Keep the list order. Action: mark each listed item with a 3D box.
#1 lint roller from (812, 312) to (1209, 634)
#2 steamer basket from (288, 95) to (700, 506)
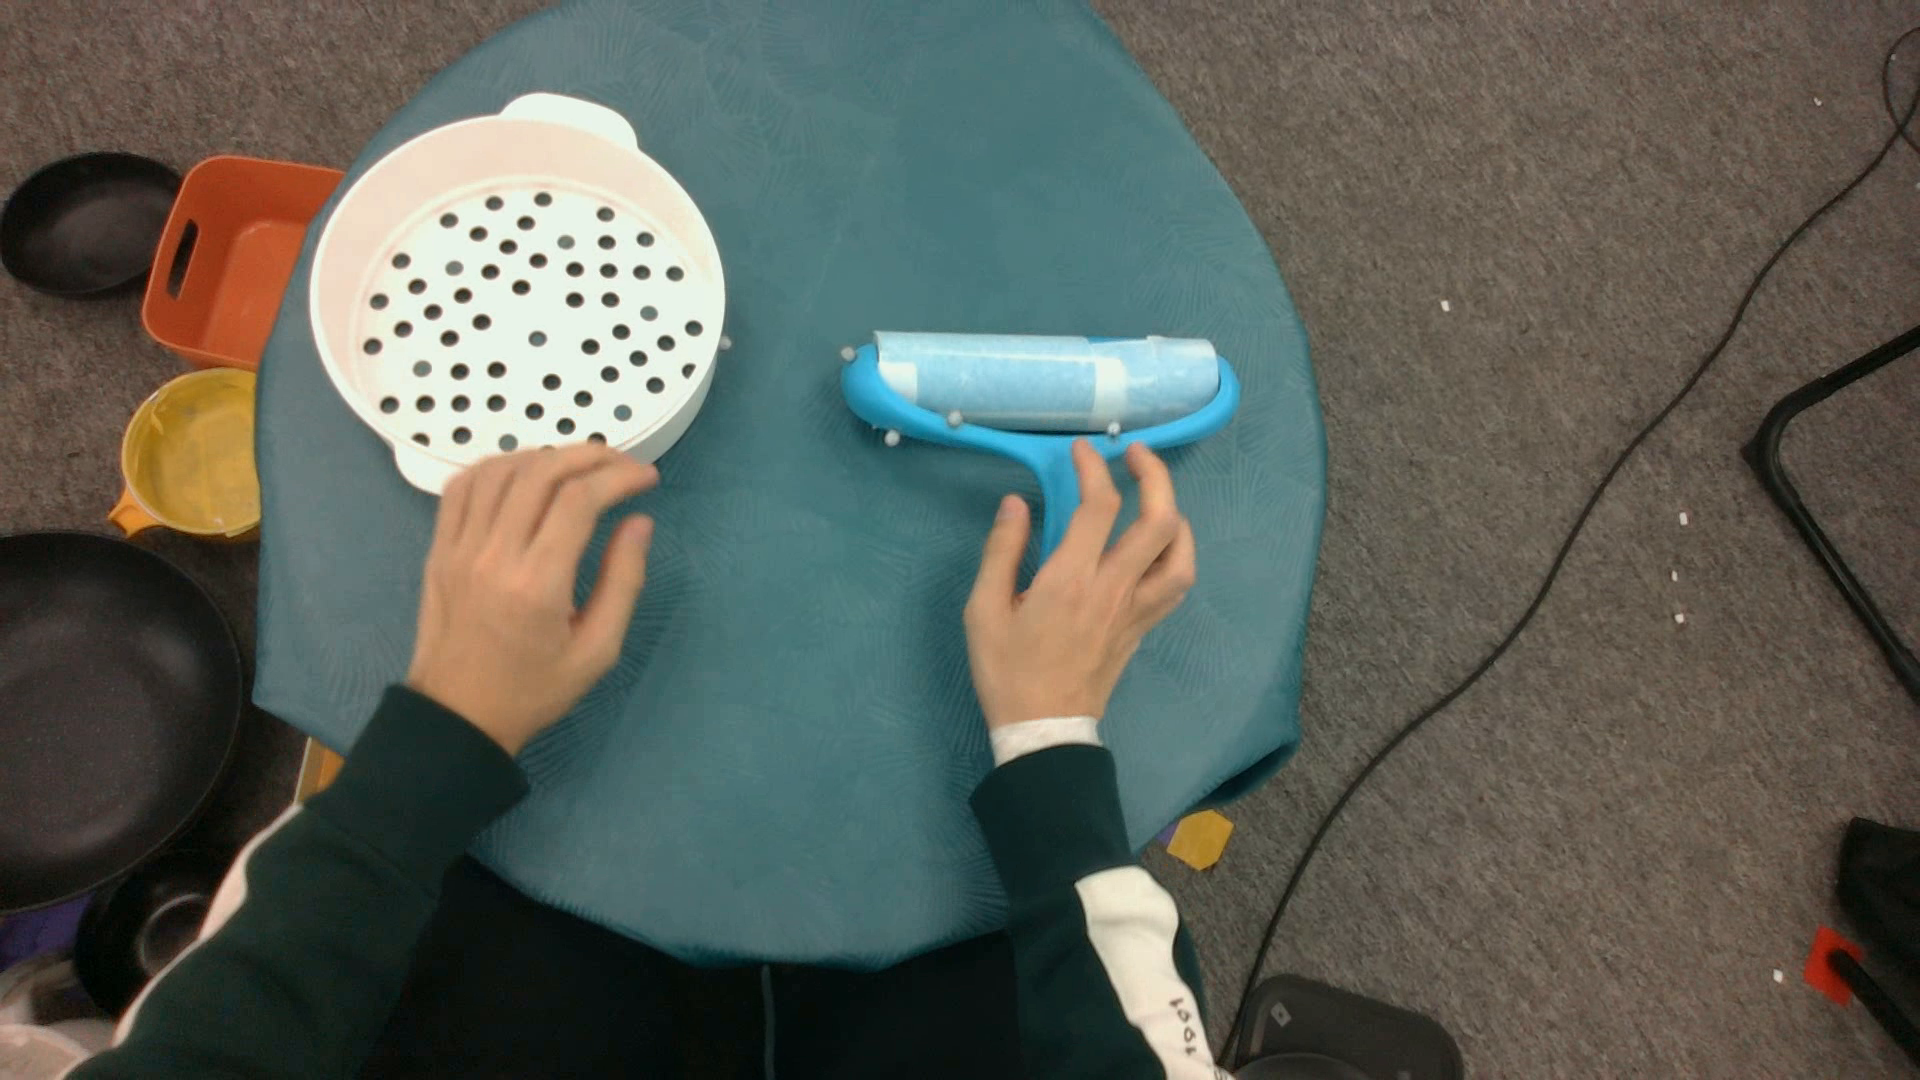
[{"bbox_3d":[0.041,-0.043,0.765,0.229,0.067,0.180,-6,73,-14],"label":"lint roller"},{"bbox_3d":[-0.240,-0.120,0.730,0.202,0.069,0.231,10,72,-6],"label":"steamer basket"}]
